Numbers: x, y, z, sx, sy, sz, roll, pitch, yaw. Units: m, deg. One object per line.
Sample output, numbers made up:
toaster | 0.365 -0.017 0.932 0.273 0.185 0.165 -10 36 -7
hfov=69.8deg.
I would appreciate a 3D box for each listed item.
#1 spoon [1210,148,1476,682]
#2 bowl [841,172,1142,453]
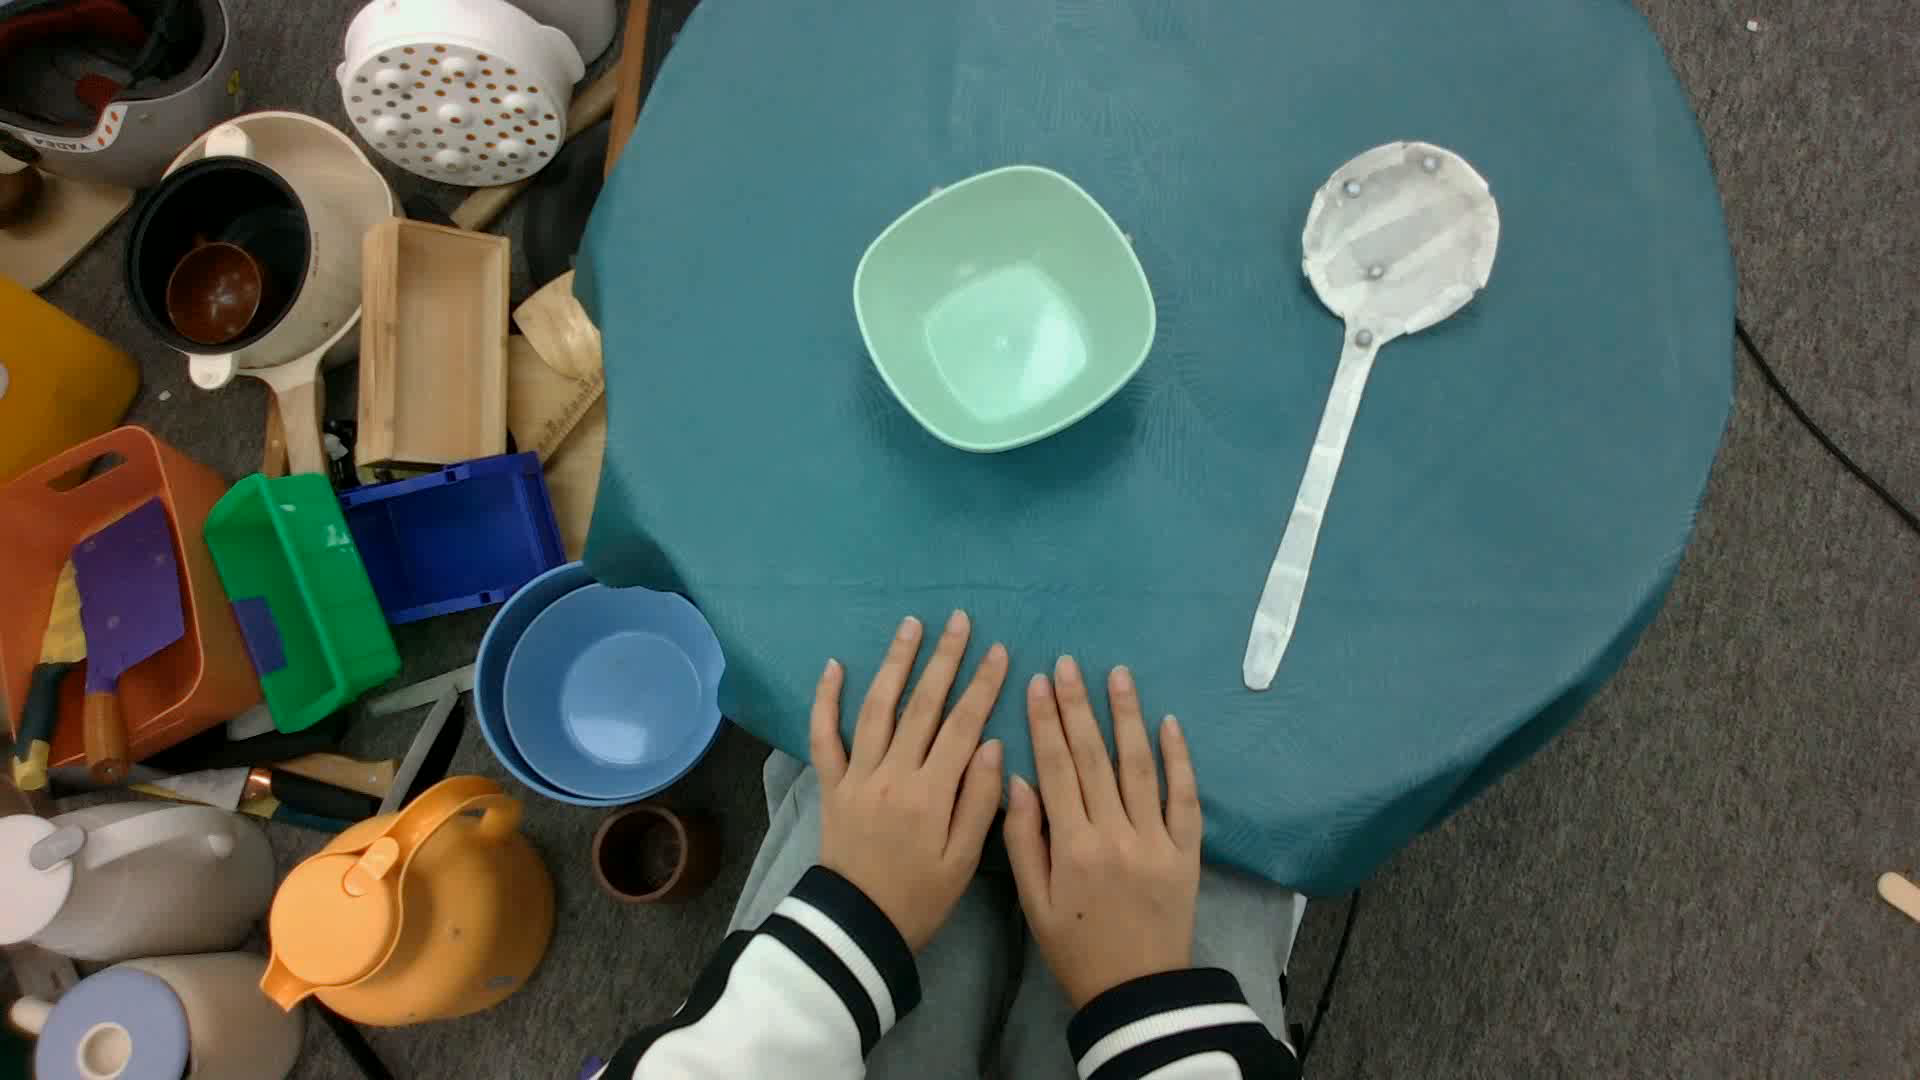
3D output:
spoon | 0.173 -0.064 0.683 0.100 0.059 0.278 20 77 13
bowl | 0.016 -0.108 0.705 0.151 0.058 0.152 -1 75 3
